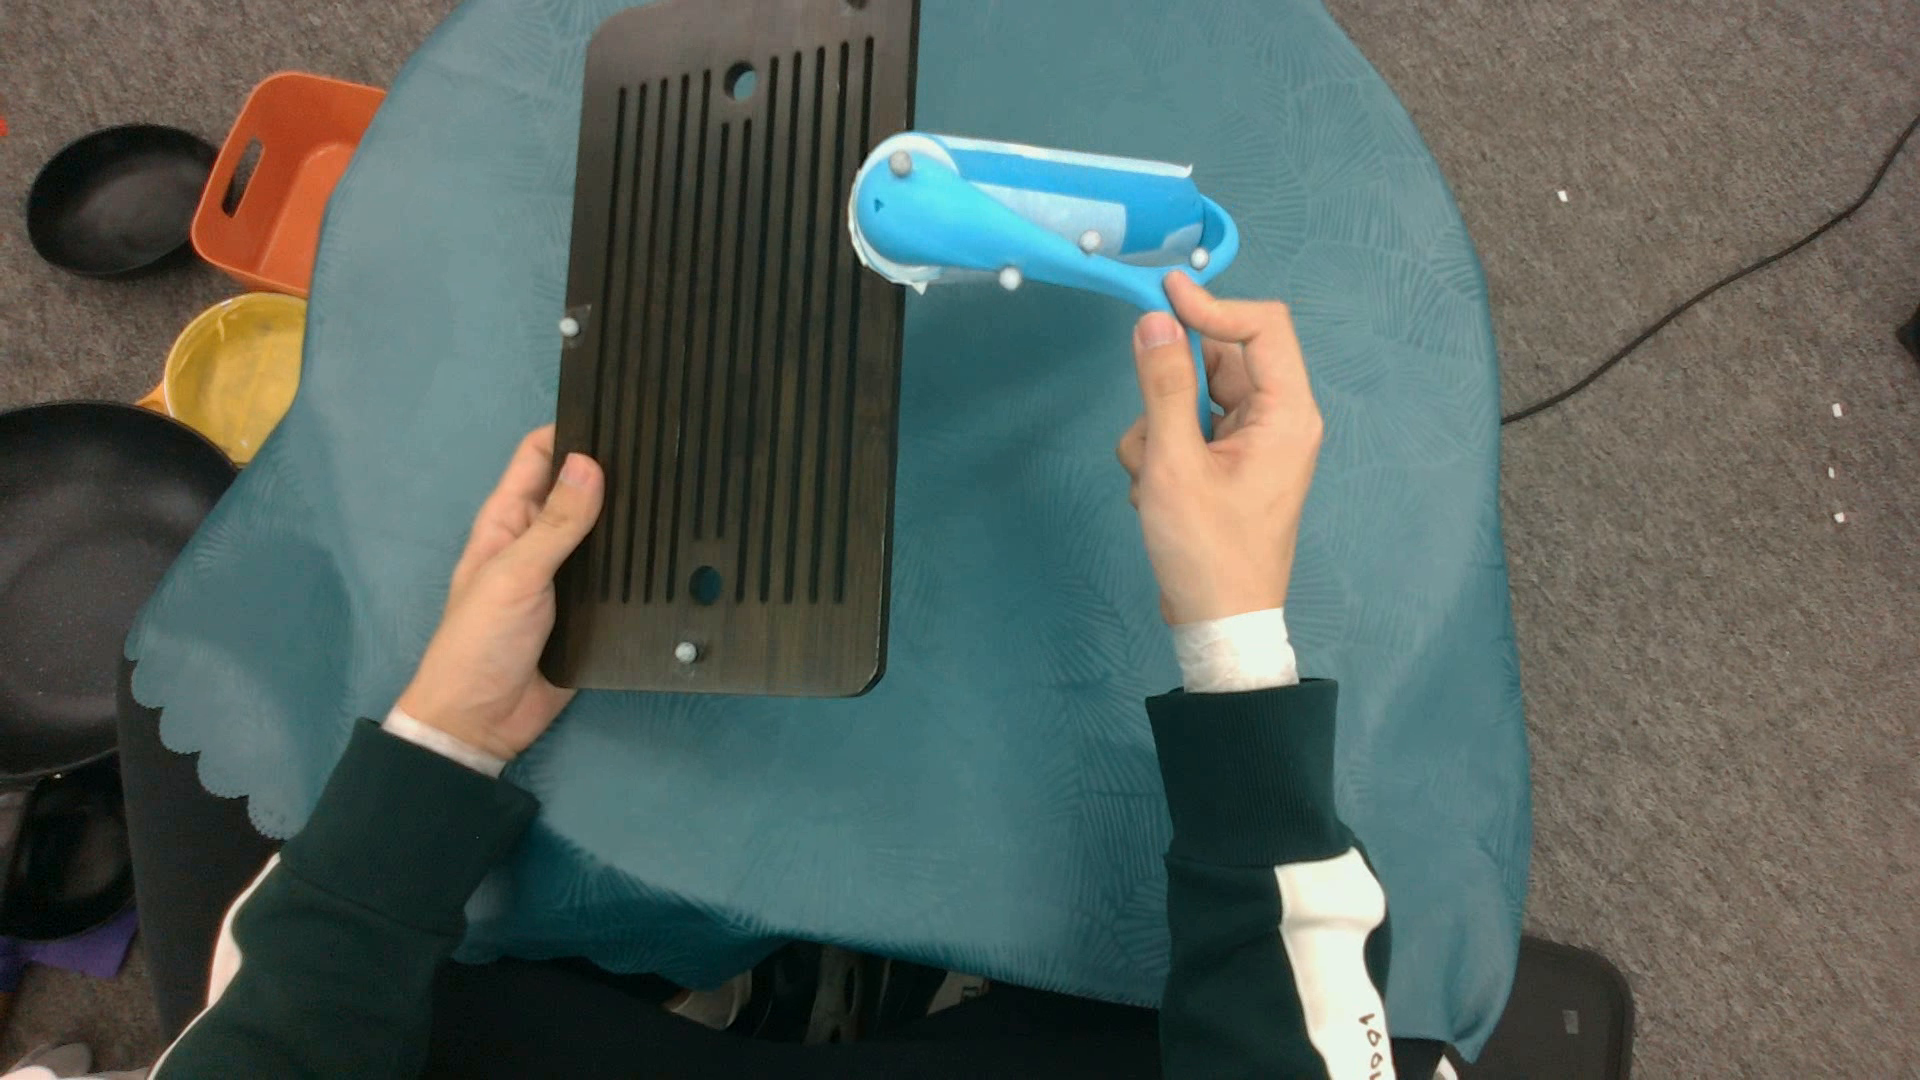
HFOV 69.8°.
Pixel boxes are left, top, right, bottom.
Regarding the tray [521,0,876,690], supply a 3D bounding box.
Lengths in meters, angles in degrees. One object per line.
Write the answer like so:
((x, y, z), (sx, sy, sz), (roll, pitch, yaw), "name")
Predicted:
((-0.109, -0.091, 0.577), (0.170, 0.018, 0.306), (-4, 82, 25), "tray")

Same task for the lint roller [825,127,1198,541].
((0.055, -0.091, 0.569), (0.180, 0.067, 0.230), (57, 32, 6), "lint roller")
